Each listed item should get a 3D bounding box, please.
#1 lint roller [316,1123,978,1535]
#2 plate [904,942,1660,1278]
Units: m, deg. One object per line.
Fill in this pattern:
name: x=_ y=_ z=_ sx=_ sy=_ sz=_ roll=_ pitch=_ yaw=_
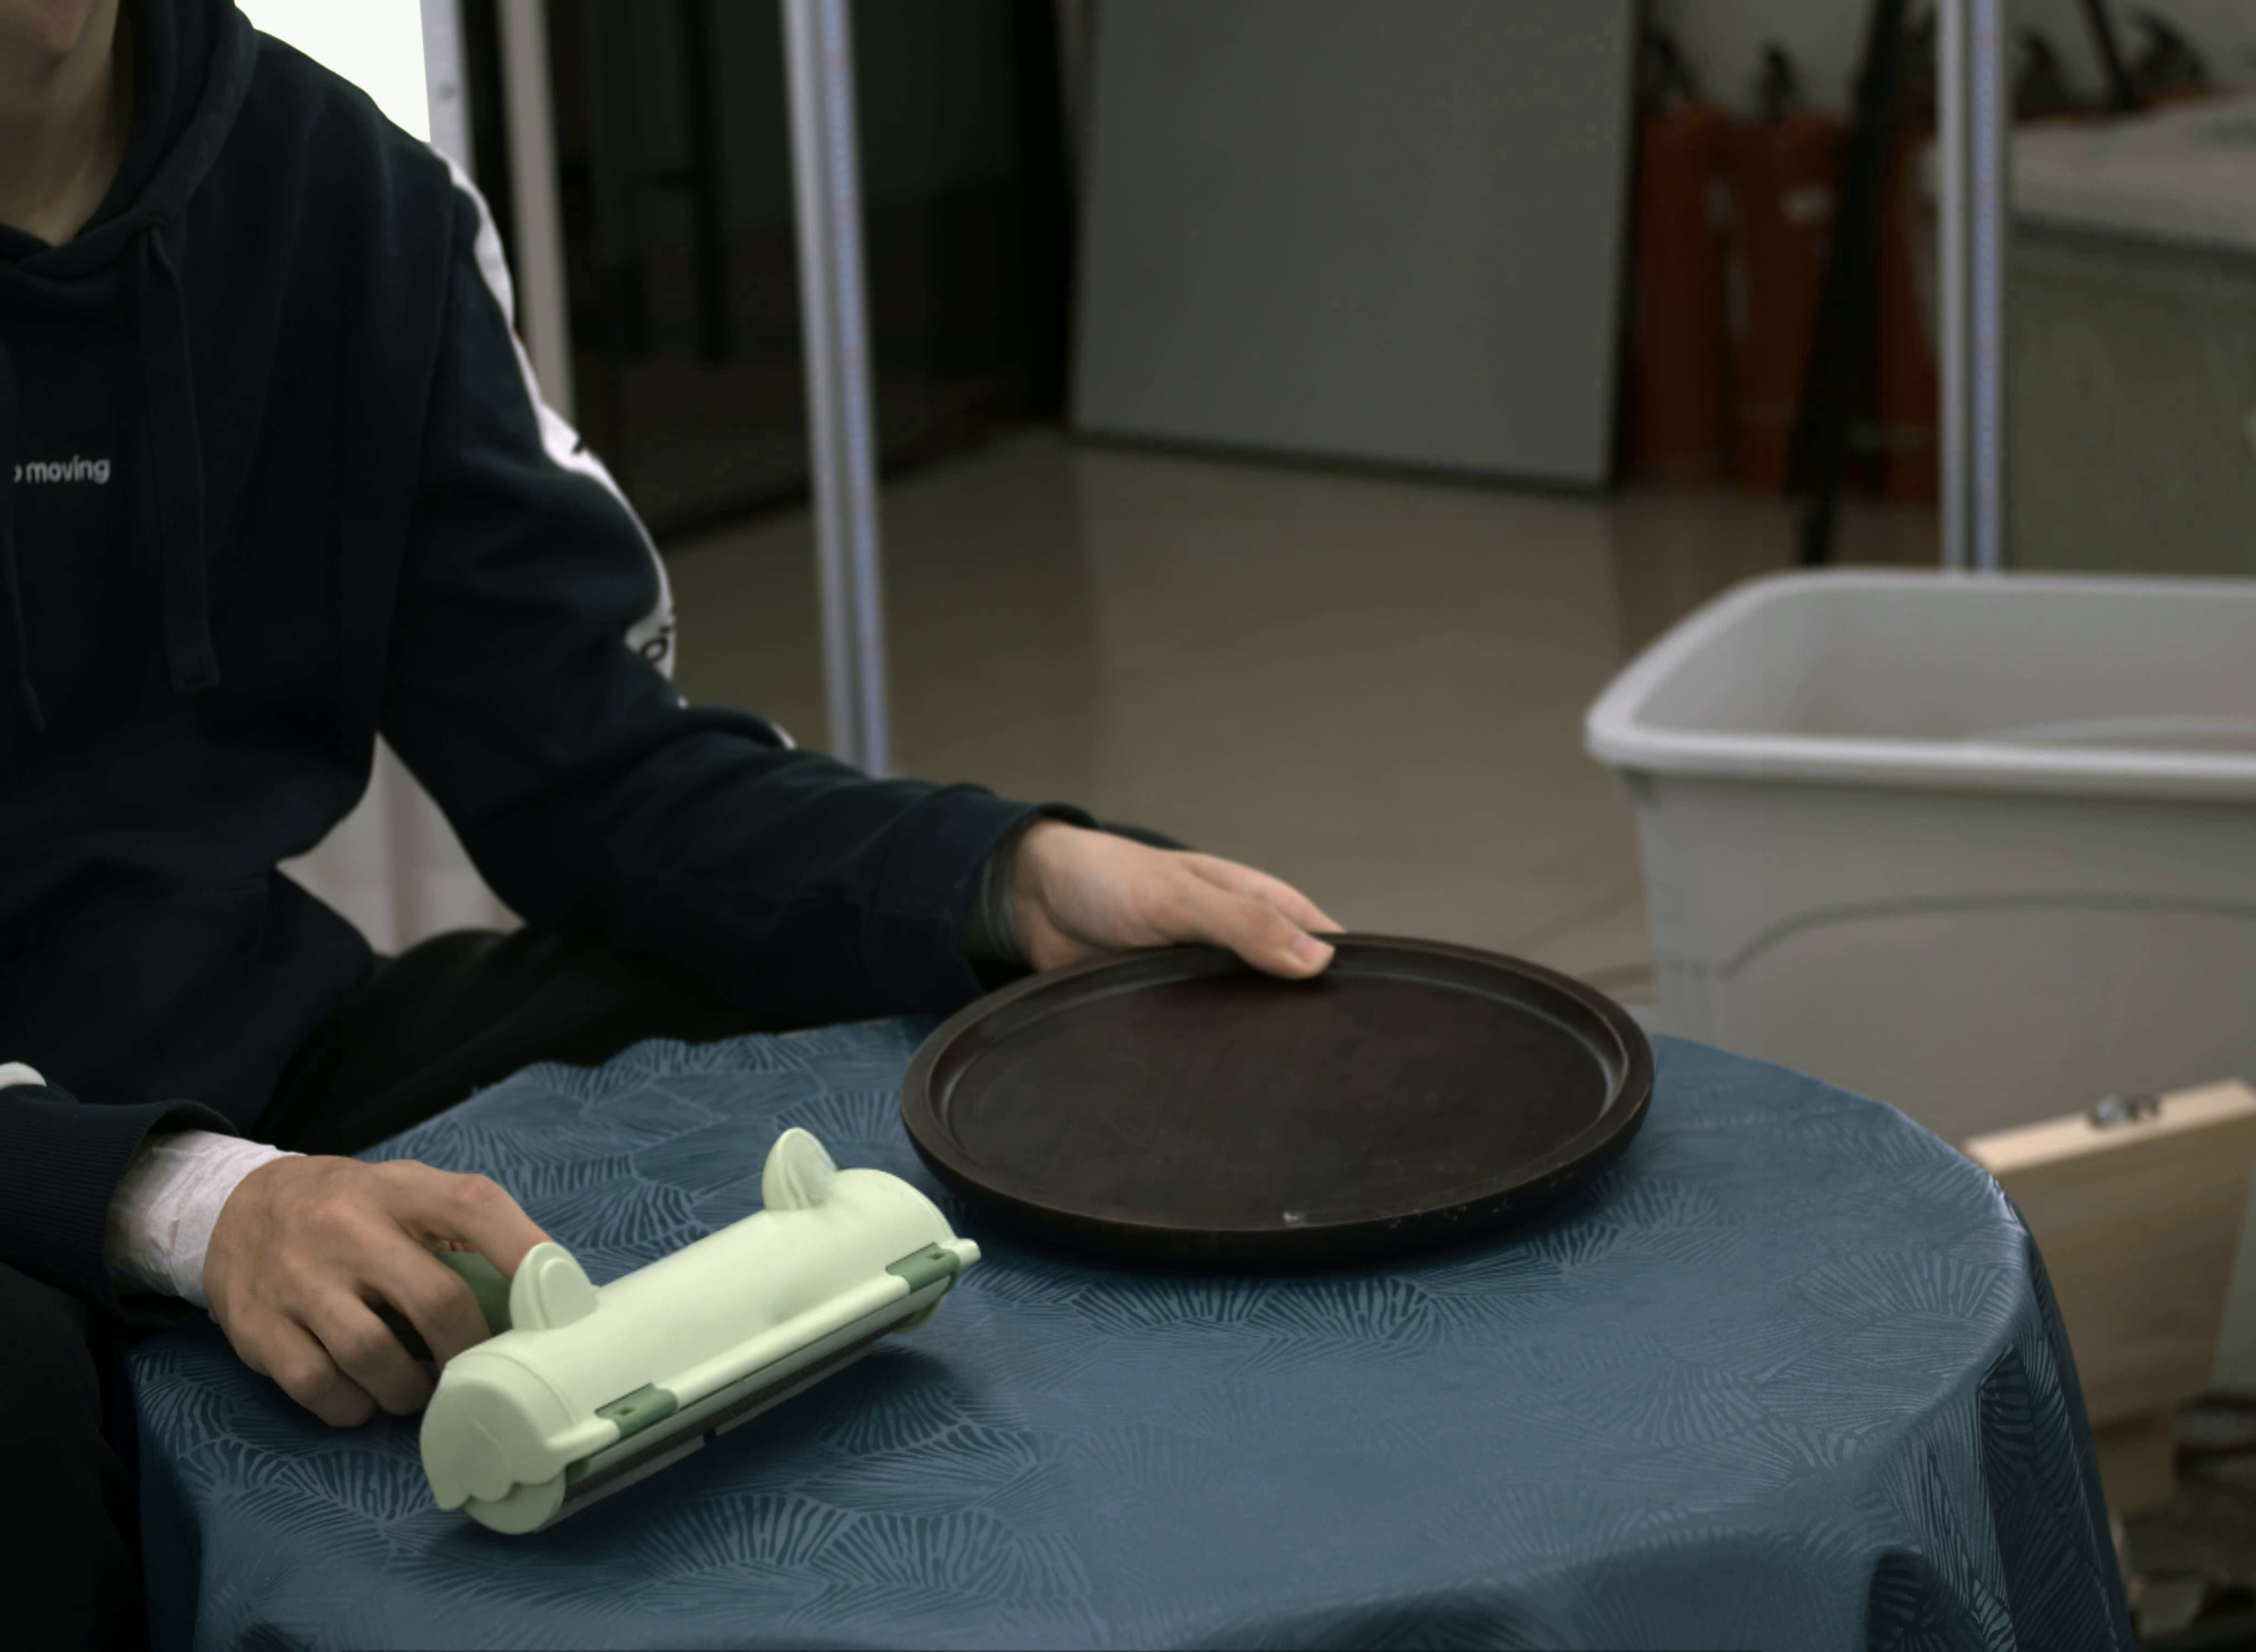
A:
lint roller: x=-0.169 y=0.132 z=1.593 sx=0.184 sy=0.083 sz=0.195 roll=14 pitch=21 yaw=33
plate: x=0.051 y=0.091 z=1.783 sx=0.251 sy=0.029 sz=0.255 roll=-4 pitch=21 yaw=1
